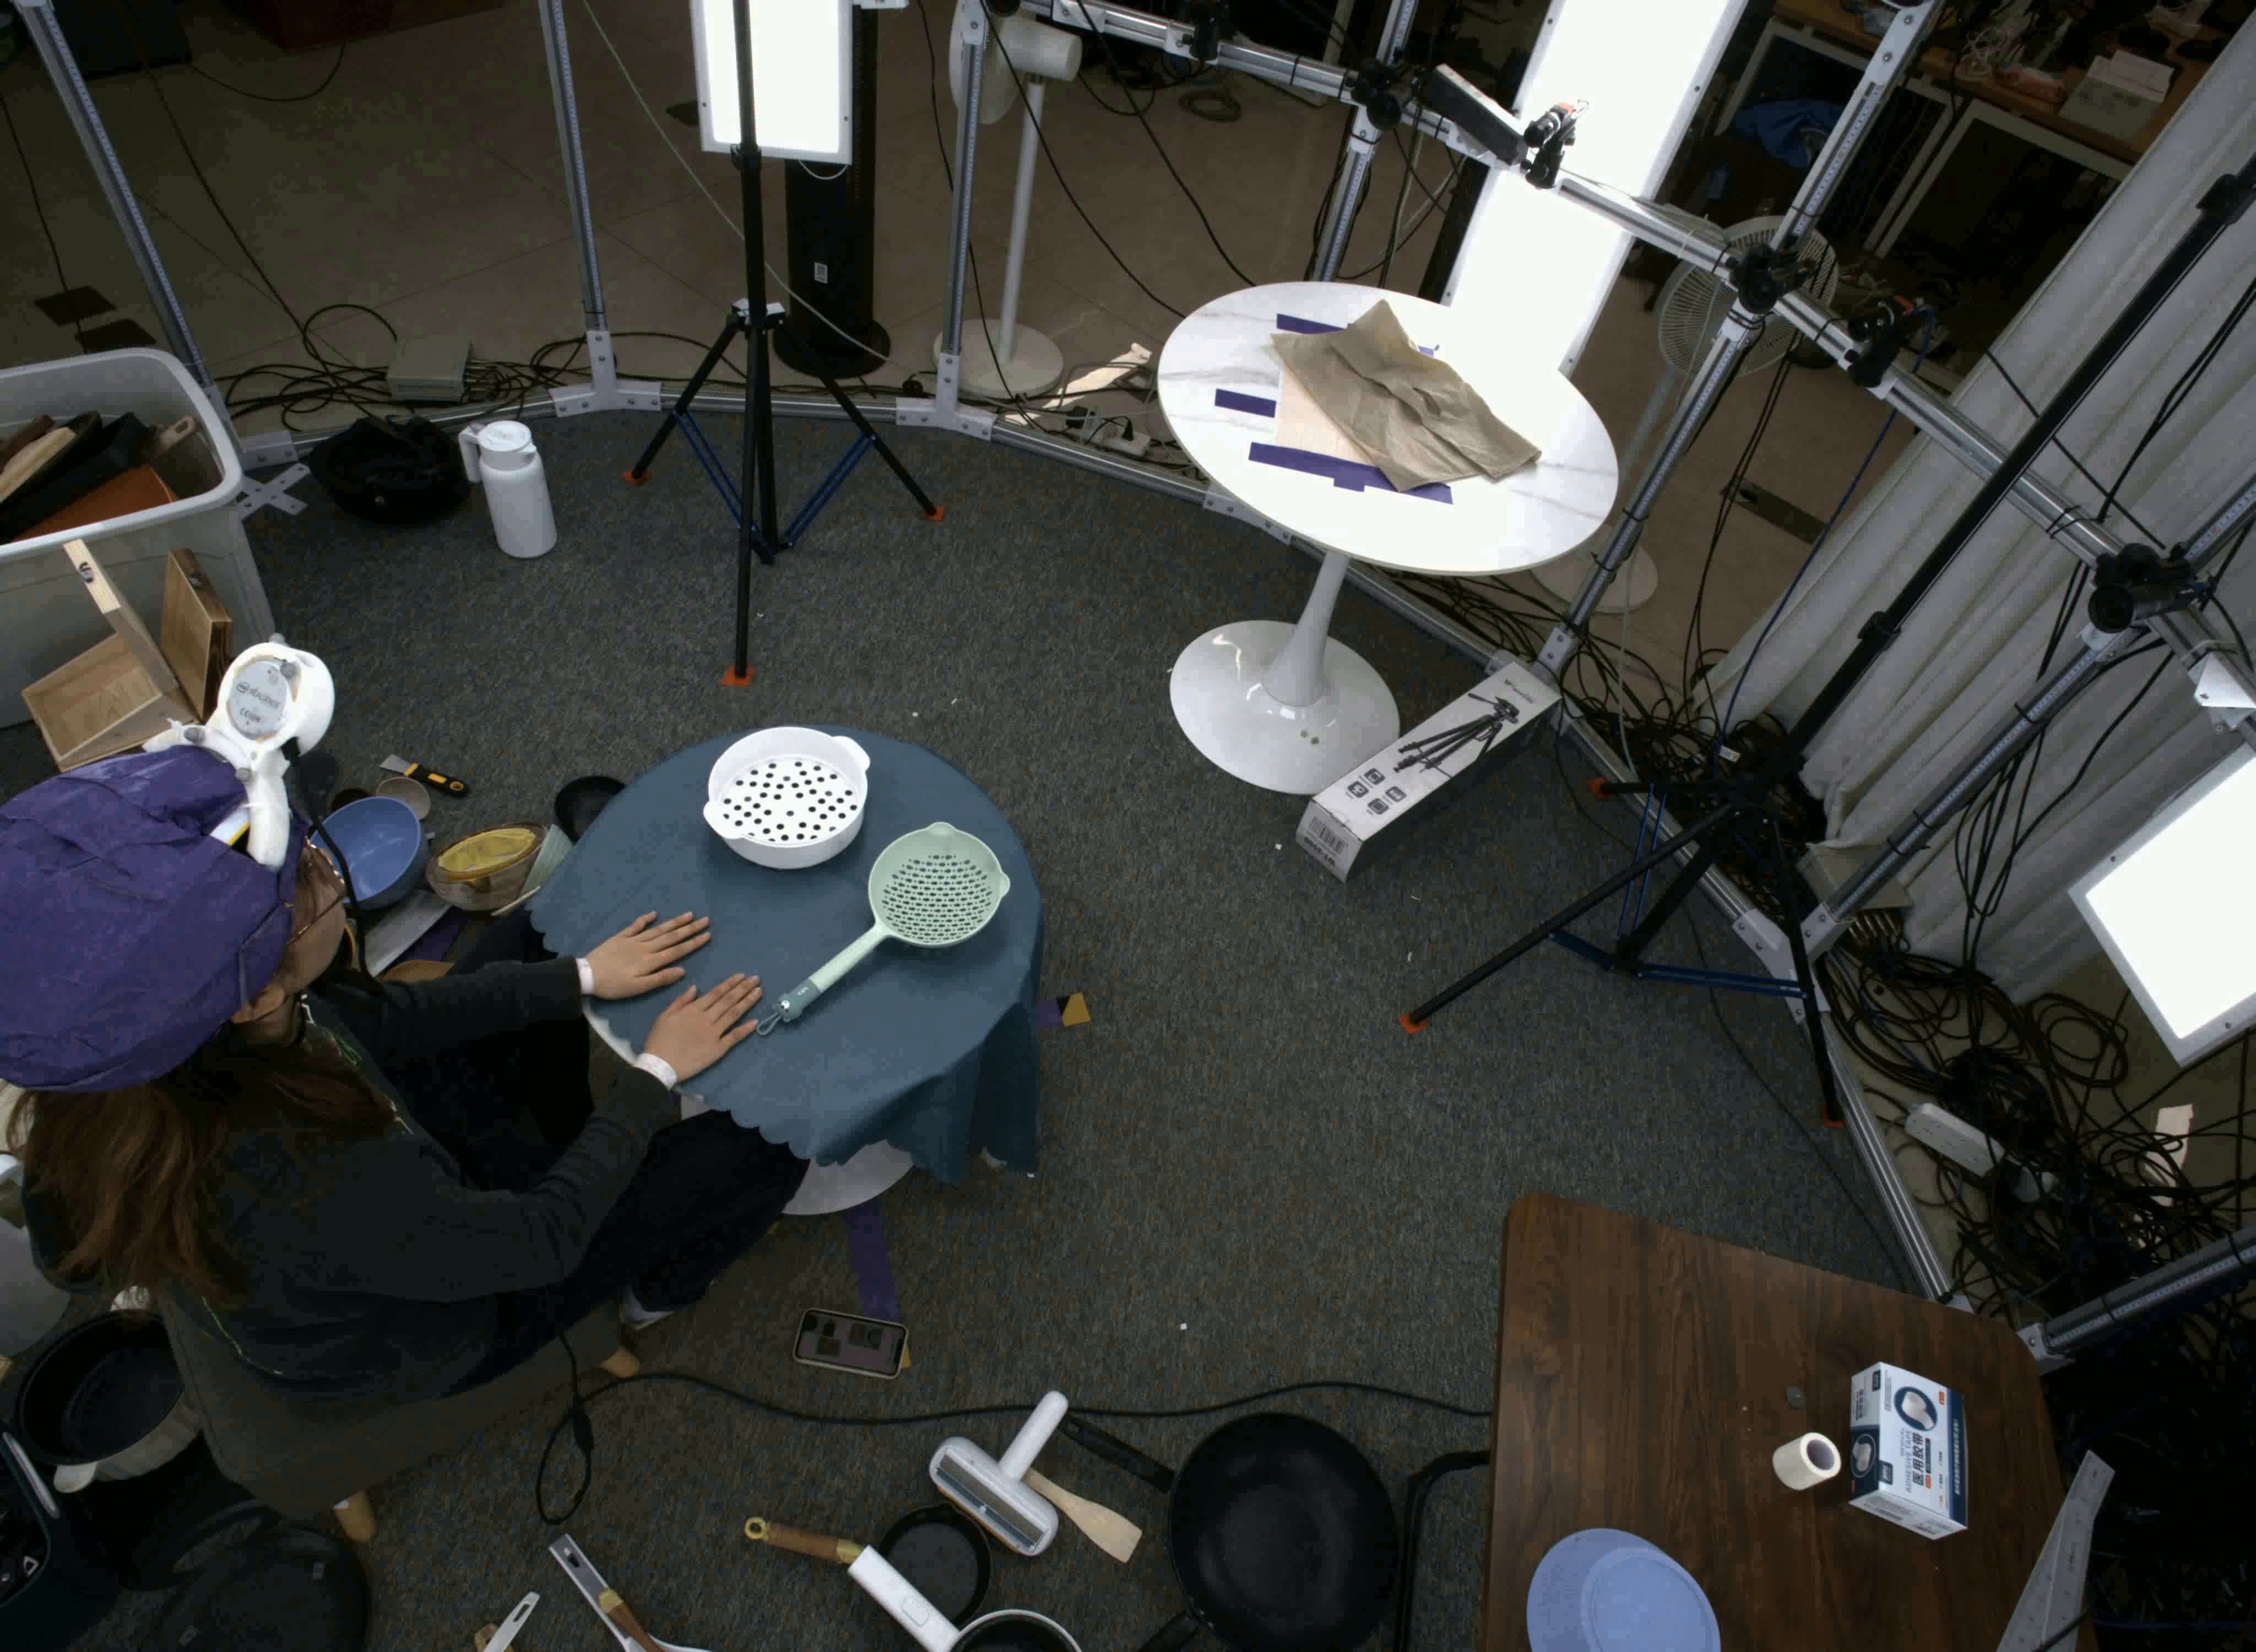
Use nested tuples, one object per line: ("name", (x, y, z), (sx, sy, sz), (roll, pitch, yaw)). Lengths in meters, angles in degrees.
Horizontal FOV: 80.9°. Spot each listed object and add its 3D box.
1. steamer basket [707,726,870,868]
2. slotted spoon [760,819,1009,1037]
("steamer basket", (-0.444, -0.038, 1.711), (0.197, 0.071, 0.231), (43, 56, 19))
("slotted spoon", (-0.311, 0.134, 1.617), (0.165, 0.077, 0.359), (41, 55, 18))
